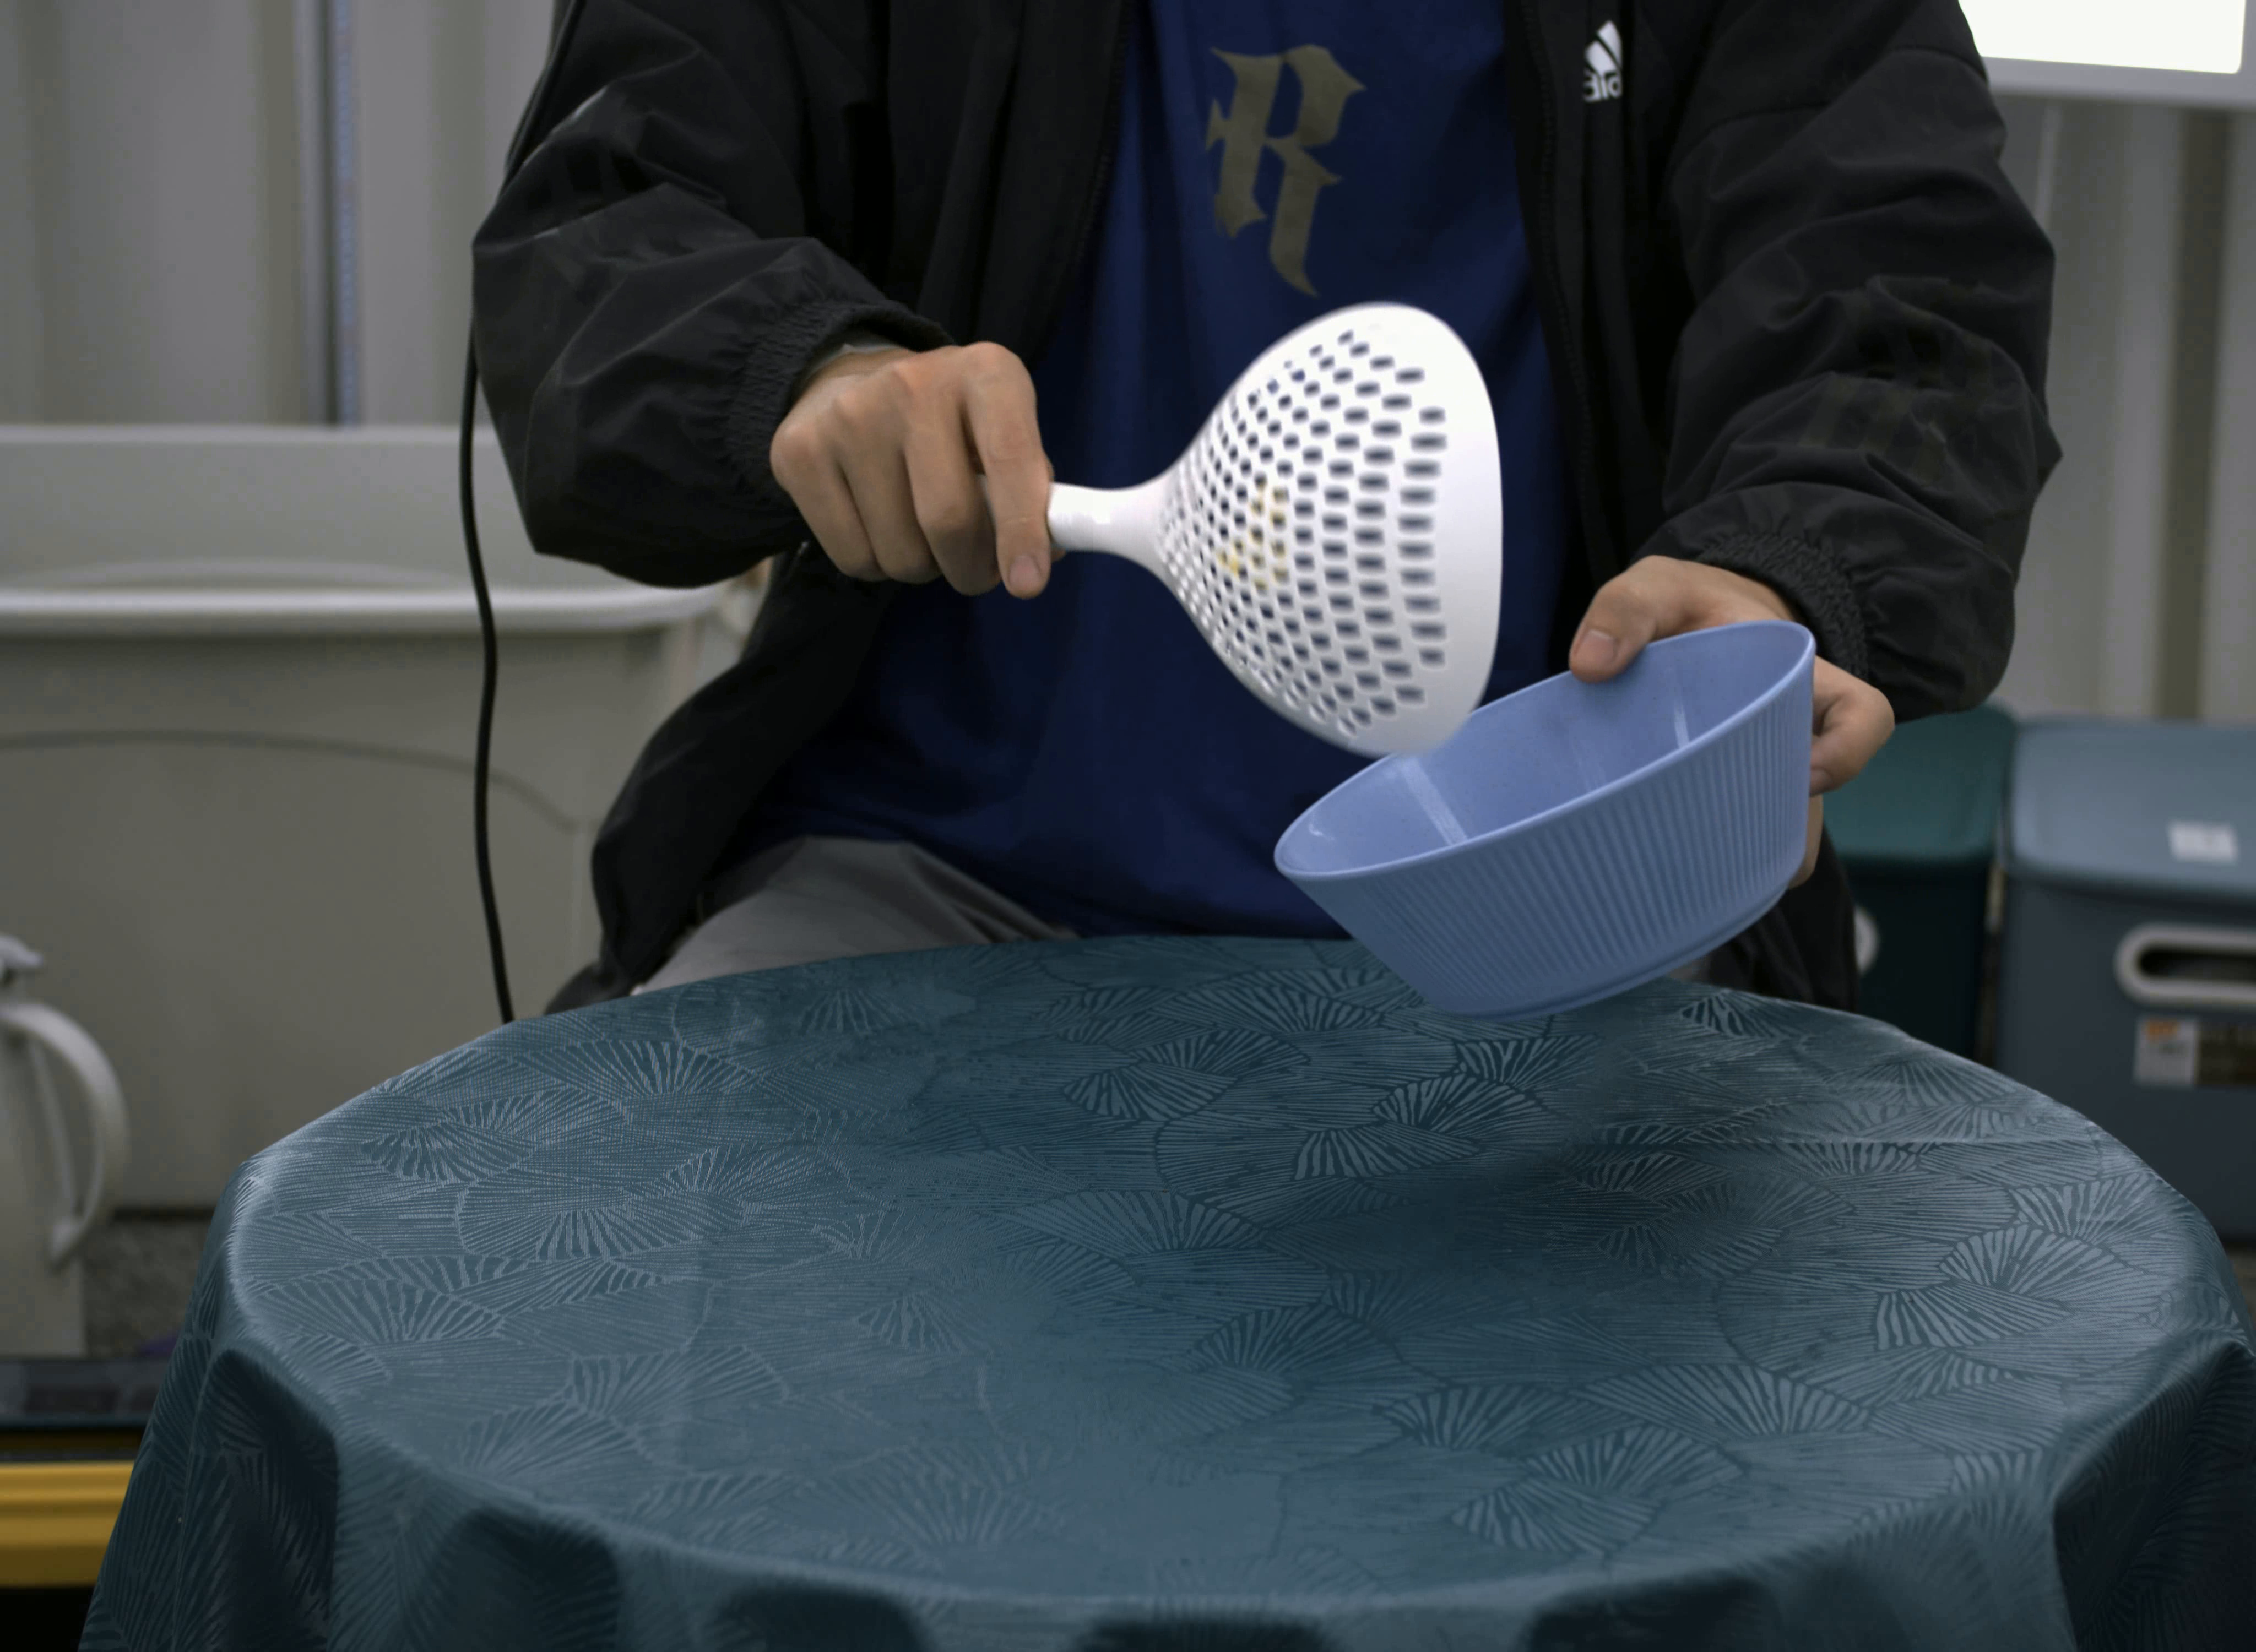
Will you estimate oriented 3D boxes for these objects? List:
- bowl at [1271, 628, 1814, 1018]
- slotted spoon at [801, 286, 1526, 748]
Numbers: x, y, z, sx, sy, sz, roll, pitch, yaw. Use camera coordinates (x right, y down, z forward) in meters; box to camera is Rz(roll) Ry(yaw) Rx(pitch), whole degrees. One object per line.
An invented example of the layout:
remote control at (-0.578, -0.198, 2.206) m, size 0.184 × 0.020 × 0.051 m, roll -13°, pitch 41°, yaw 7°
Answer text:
bowl at (0.136, 0.005, 1.591) m, size 0.175 × 0.071 × 0.175 m, roll -22°, pitch 10°, yaw 5°
slotted spoon at (0.003, -0.099, 1.643) m, size 0.050 × 0.137 × 0.344 m, roll -7°, pitch 9°, yaw -32°
